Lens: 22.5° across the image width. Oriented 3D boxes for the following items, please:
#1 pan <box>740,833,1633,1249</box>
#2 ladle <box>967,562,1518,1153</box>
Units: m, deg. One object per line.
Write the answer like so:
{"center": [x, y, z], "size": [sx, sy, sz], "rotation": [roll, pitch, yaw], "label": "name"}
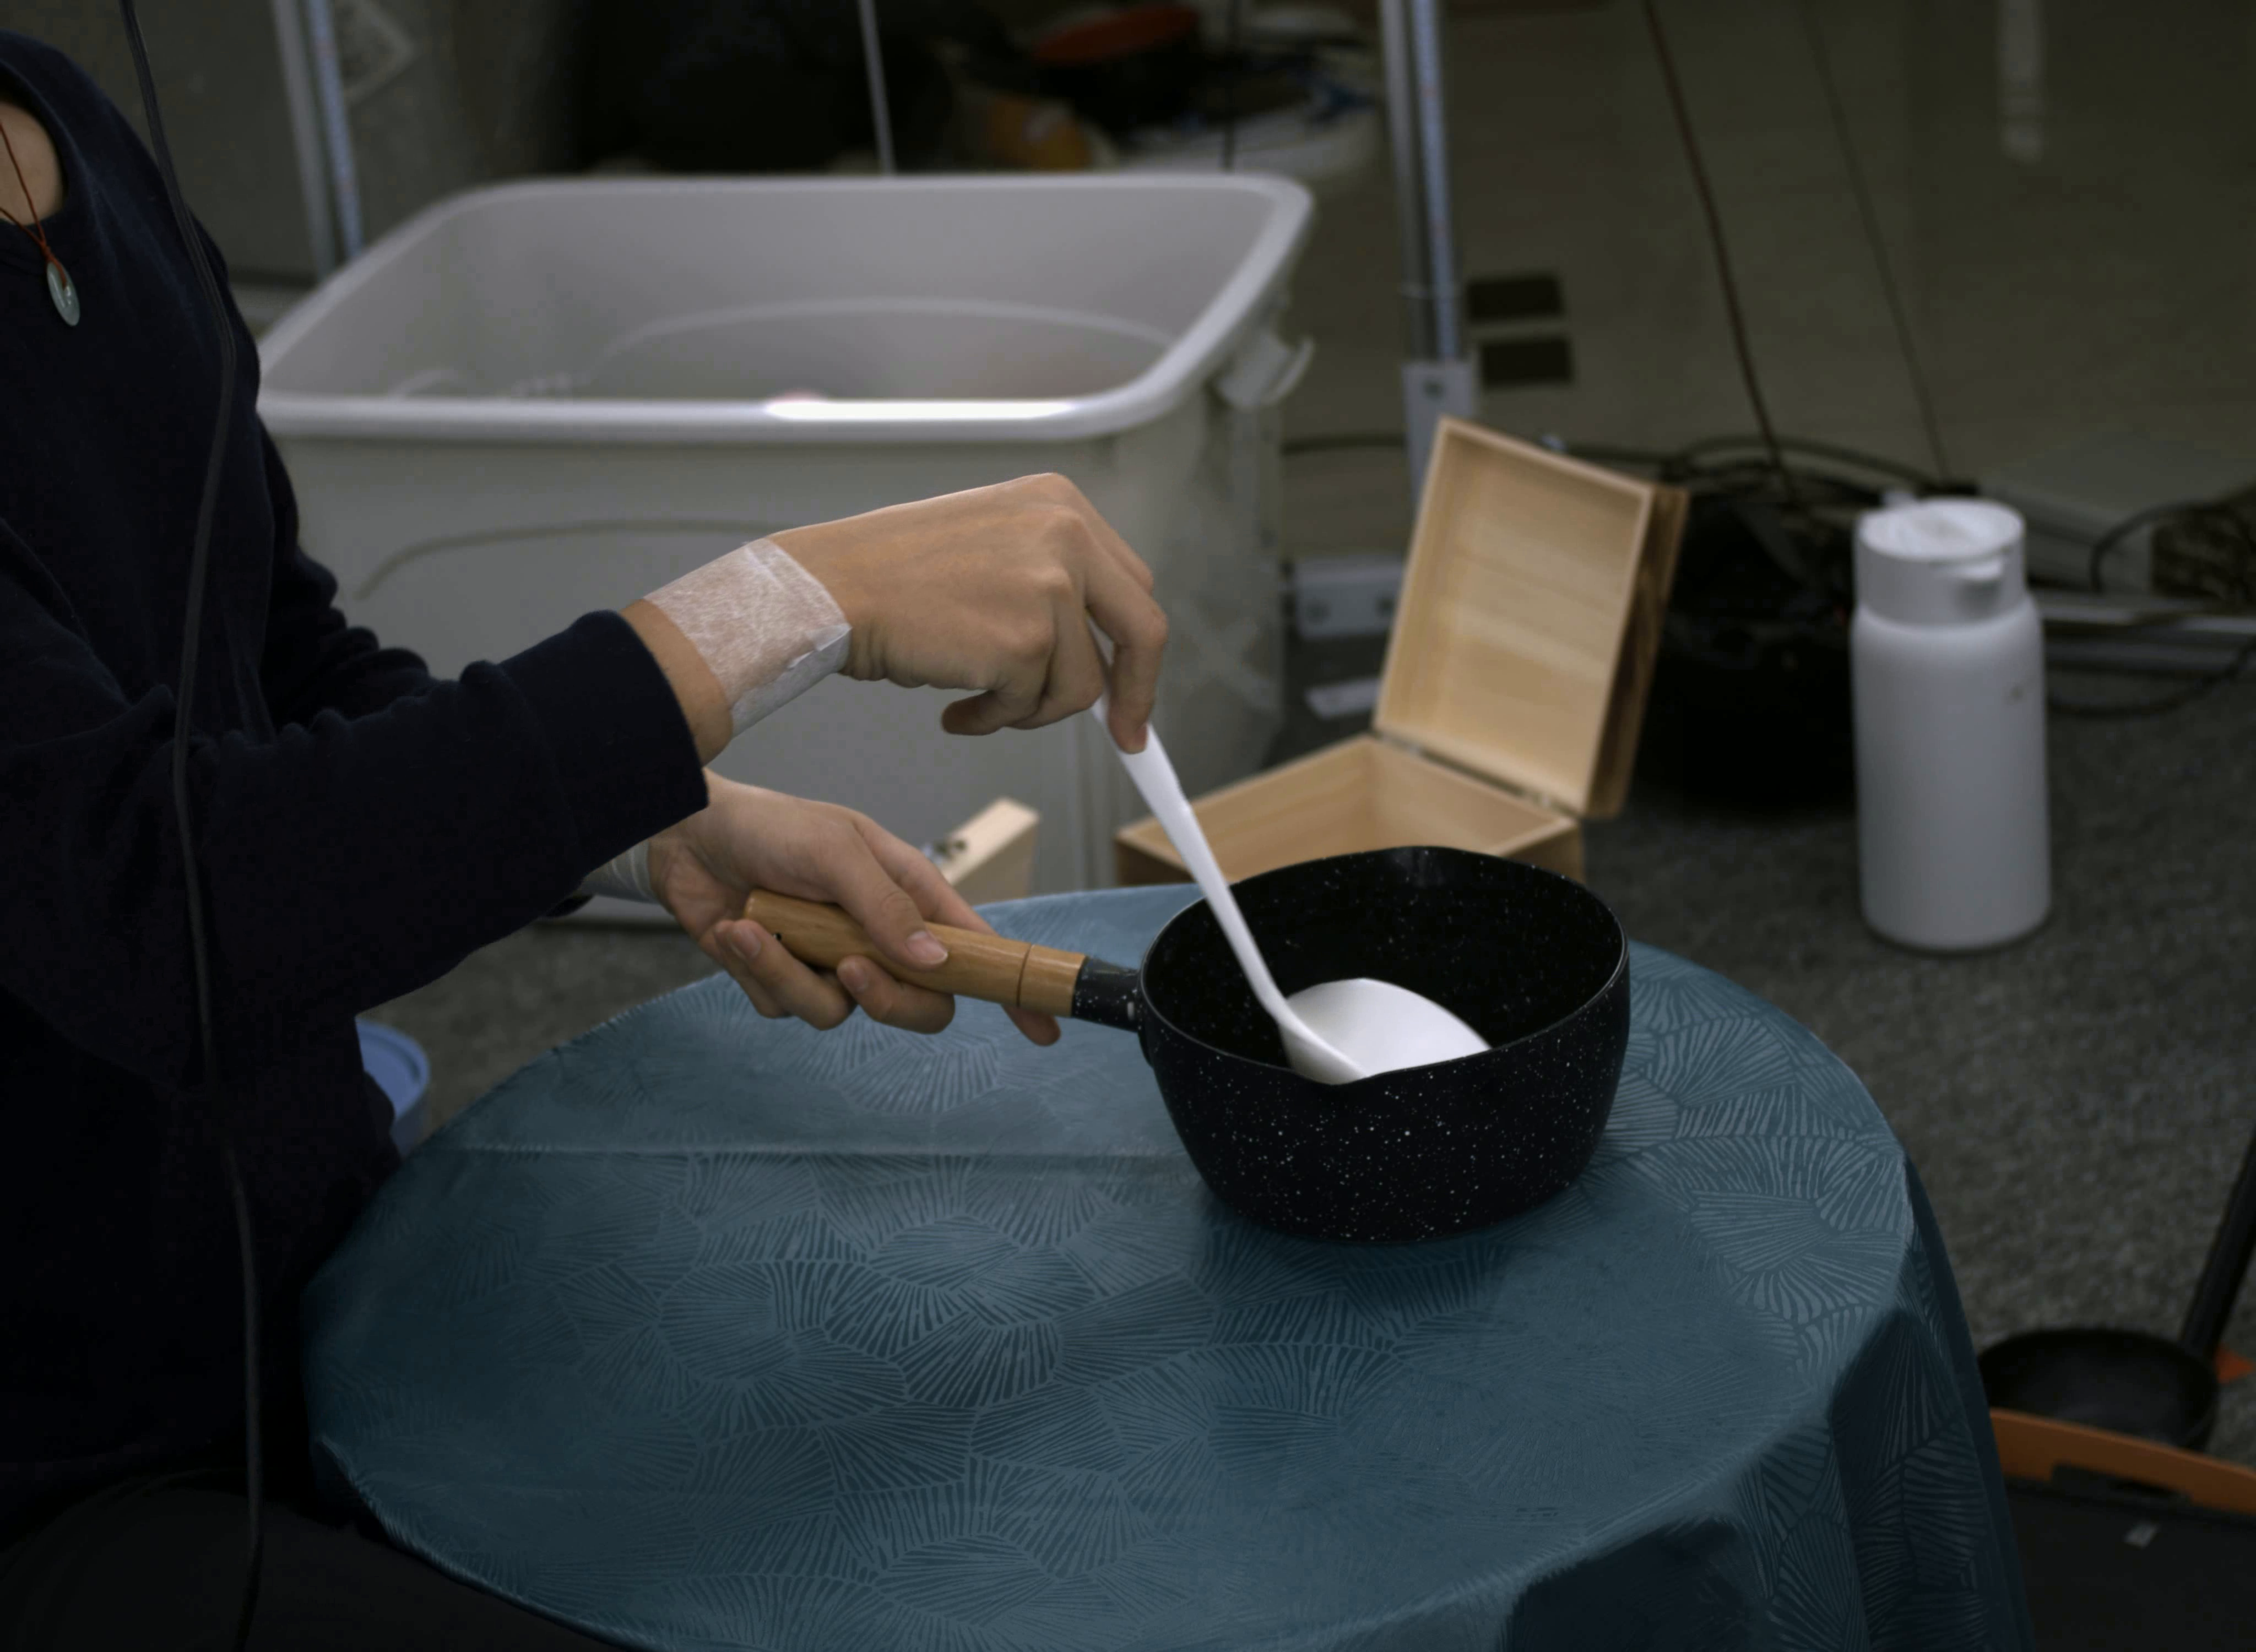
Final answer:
{"center": [0.020, 0.075, 2.146], "size": [0.342, 0.110, 0.204], "rotation": [1, 27, 12], "label": "pan"}
{"center": [0.046, 0.011, 2.016], "size": [0.070, 0.297, 0.088], "rotation": [-27, 34, 13], "label": "ladle"}
